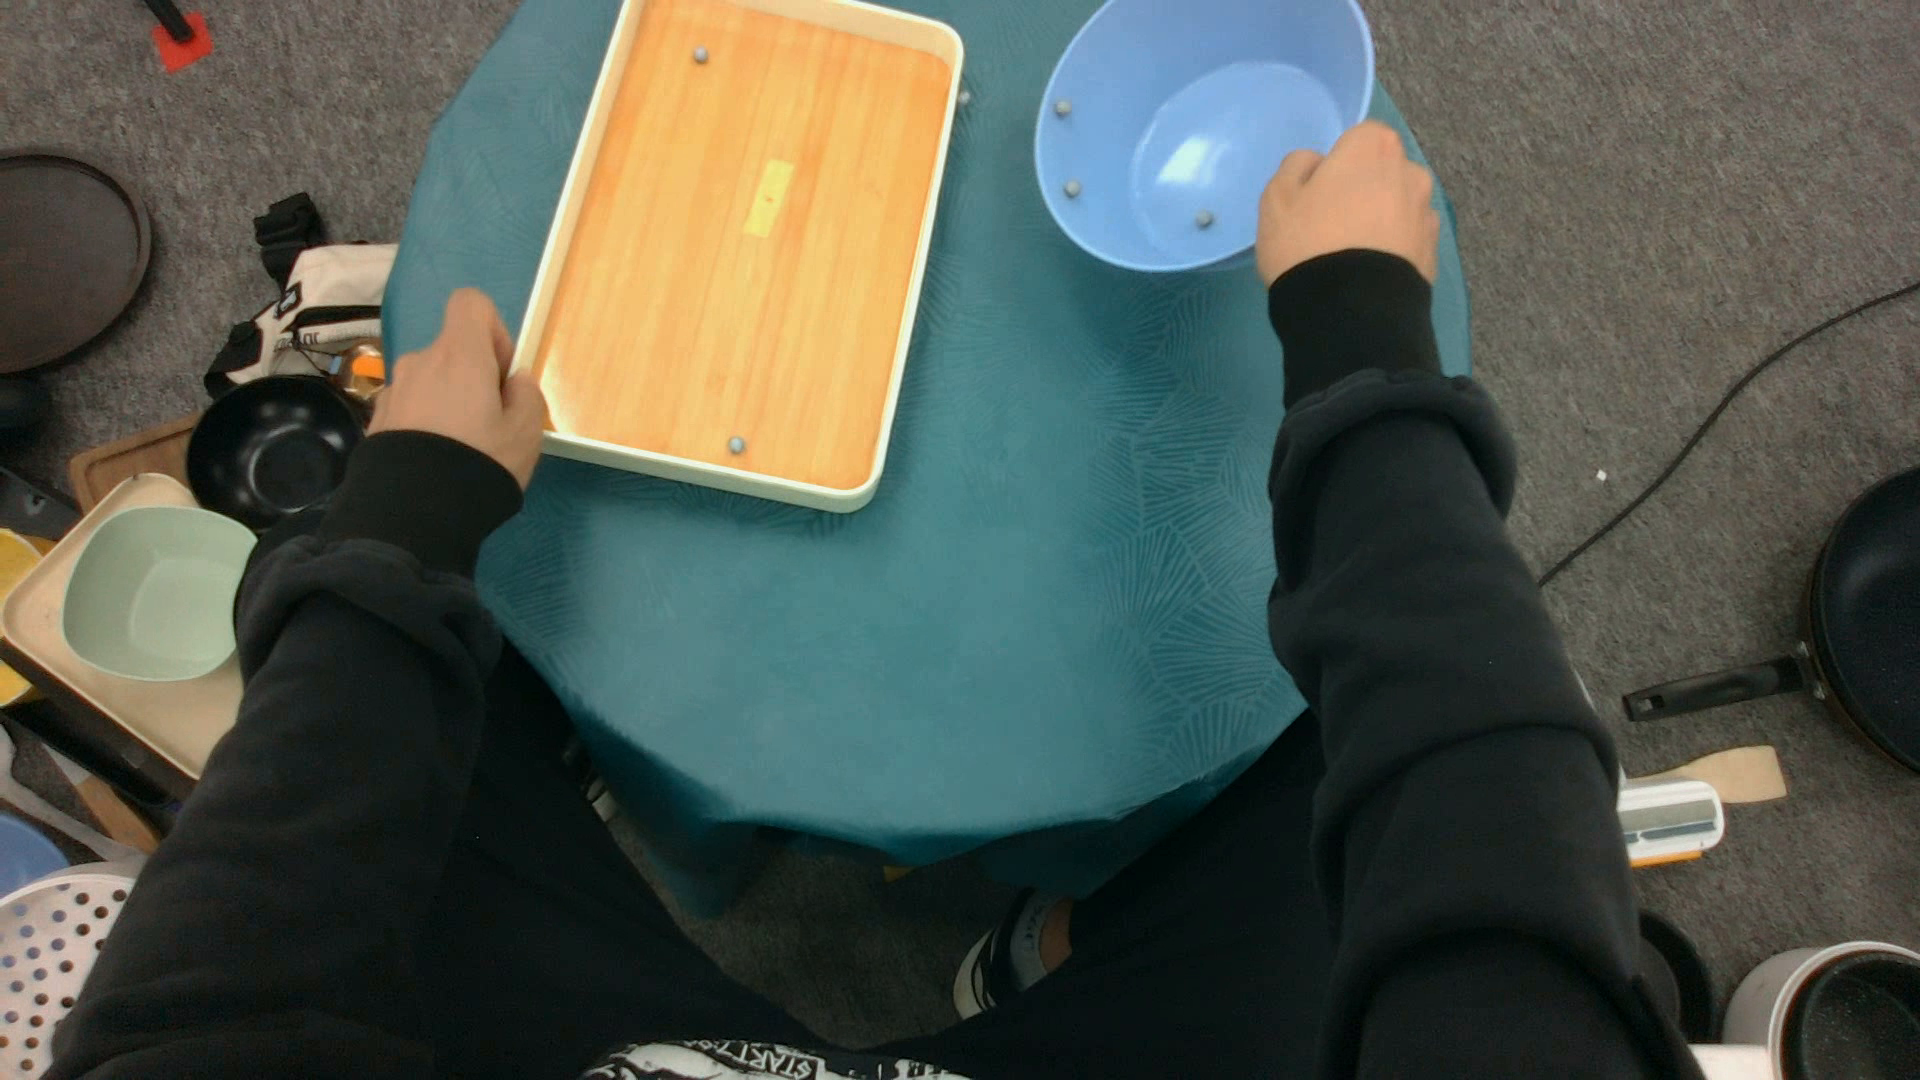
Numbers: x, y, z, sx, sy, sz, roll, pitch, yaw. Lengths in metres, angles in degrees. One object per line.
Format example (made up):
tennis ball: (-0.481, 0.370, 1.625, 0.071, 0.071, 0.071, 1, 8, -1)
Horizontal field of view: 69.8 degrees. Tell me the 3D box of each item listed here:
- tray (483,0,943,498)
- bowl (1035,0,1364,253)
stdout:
tray: (-0.123, -0.176, 0.741, 0.191, 0.027, 0.301, 11, 68, -5)
bowl: (0.130, -0.218, 0.709, 0.175, 0.070, 0.176, -10, 71, 31)
